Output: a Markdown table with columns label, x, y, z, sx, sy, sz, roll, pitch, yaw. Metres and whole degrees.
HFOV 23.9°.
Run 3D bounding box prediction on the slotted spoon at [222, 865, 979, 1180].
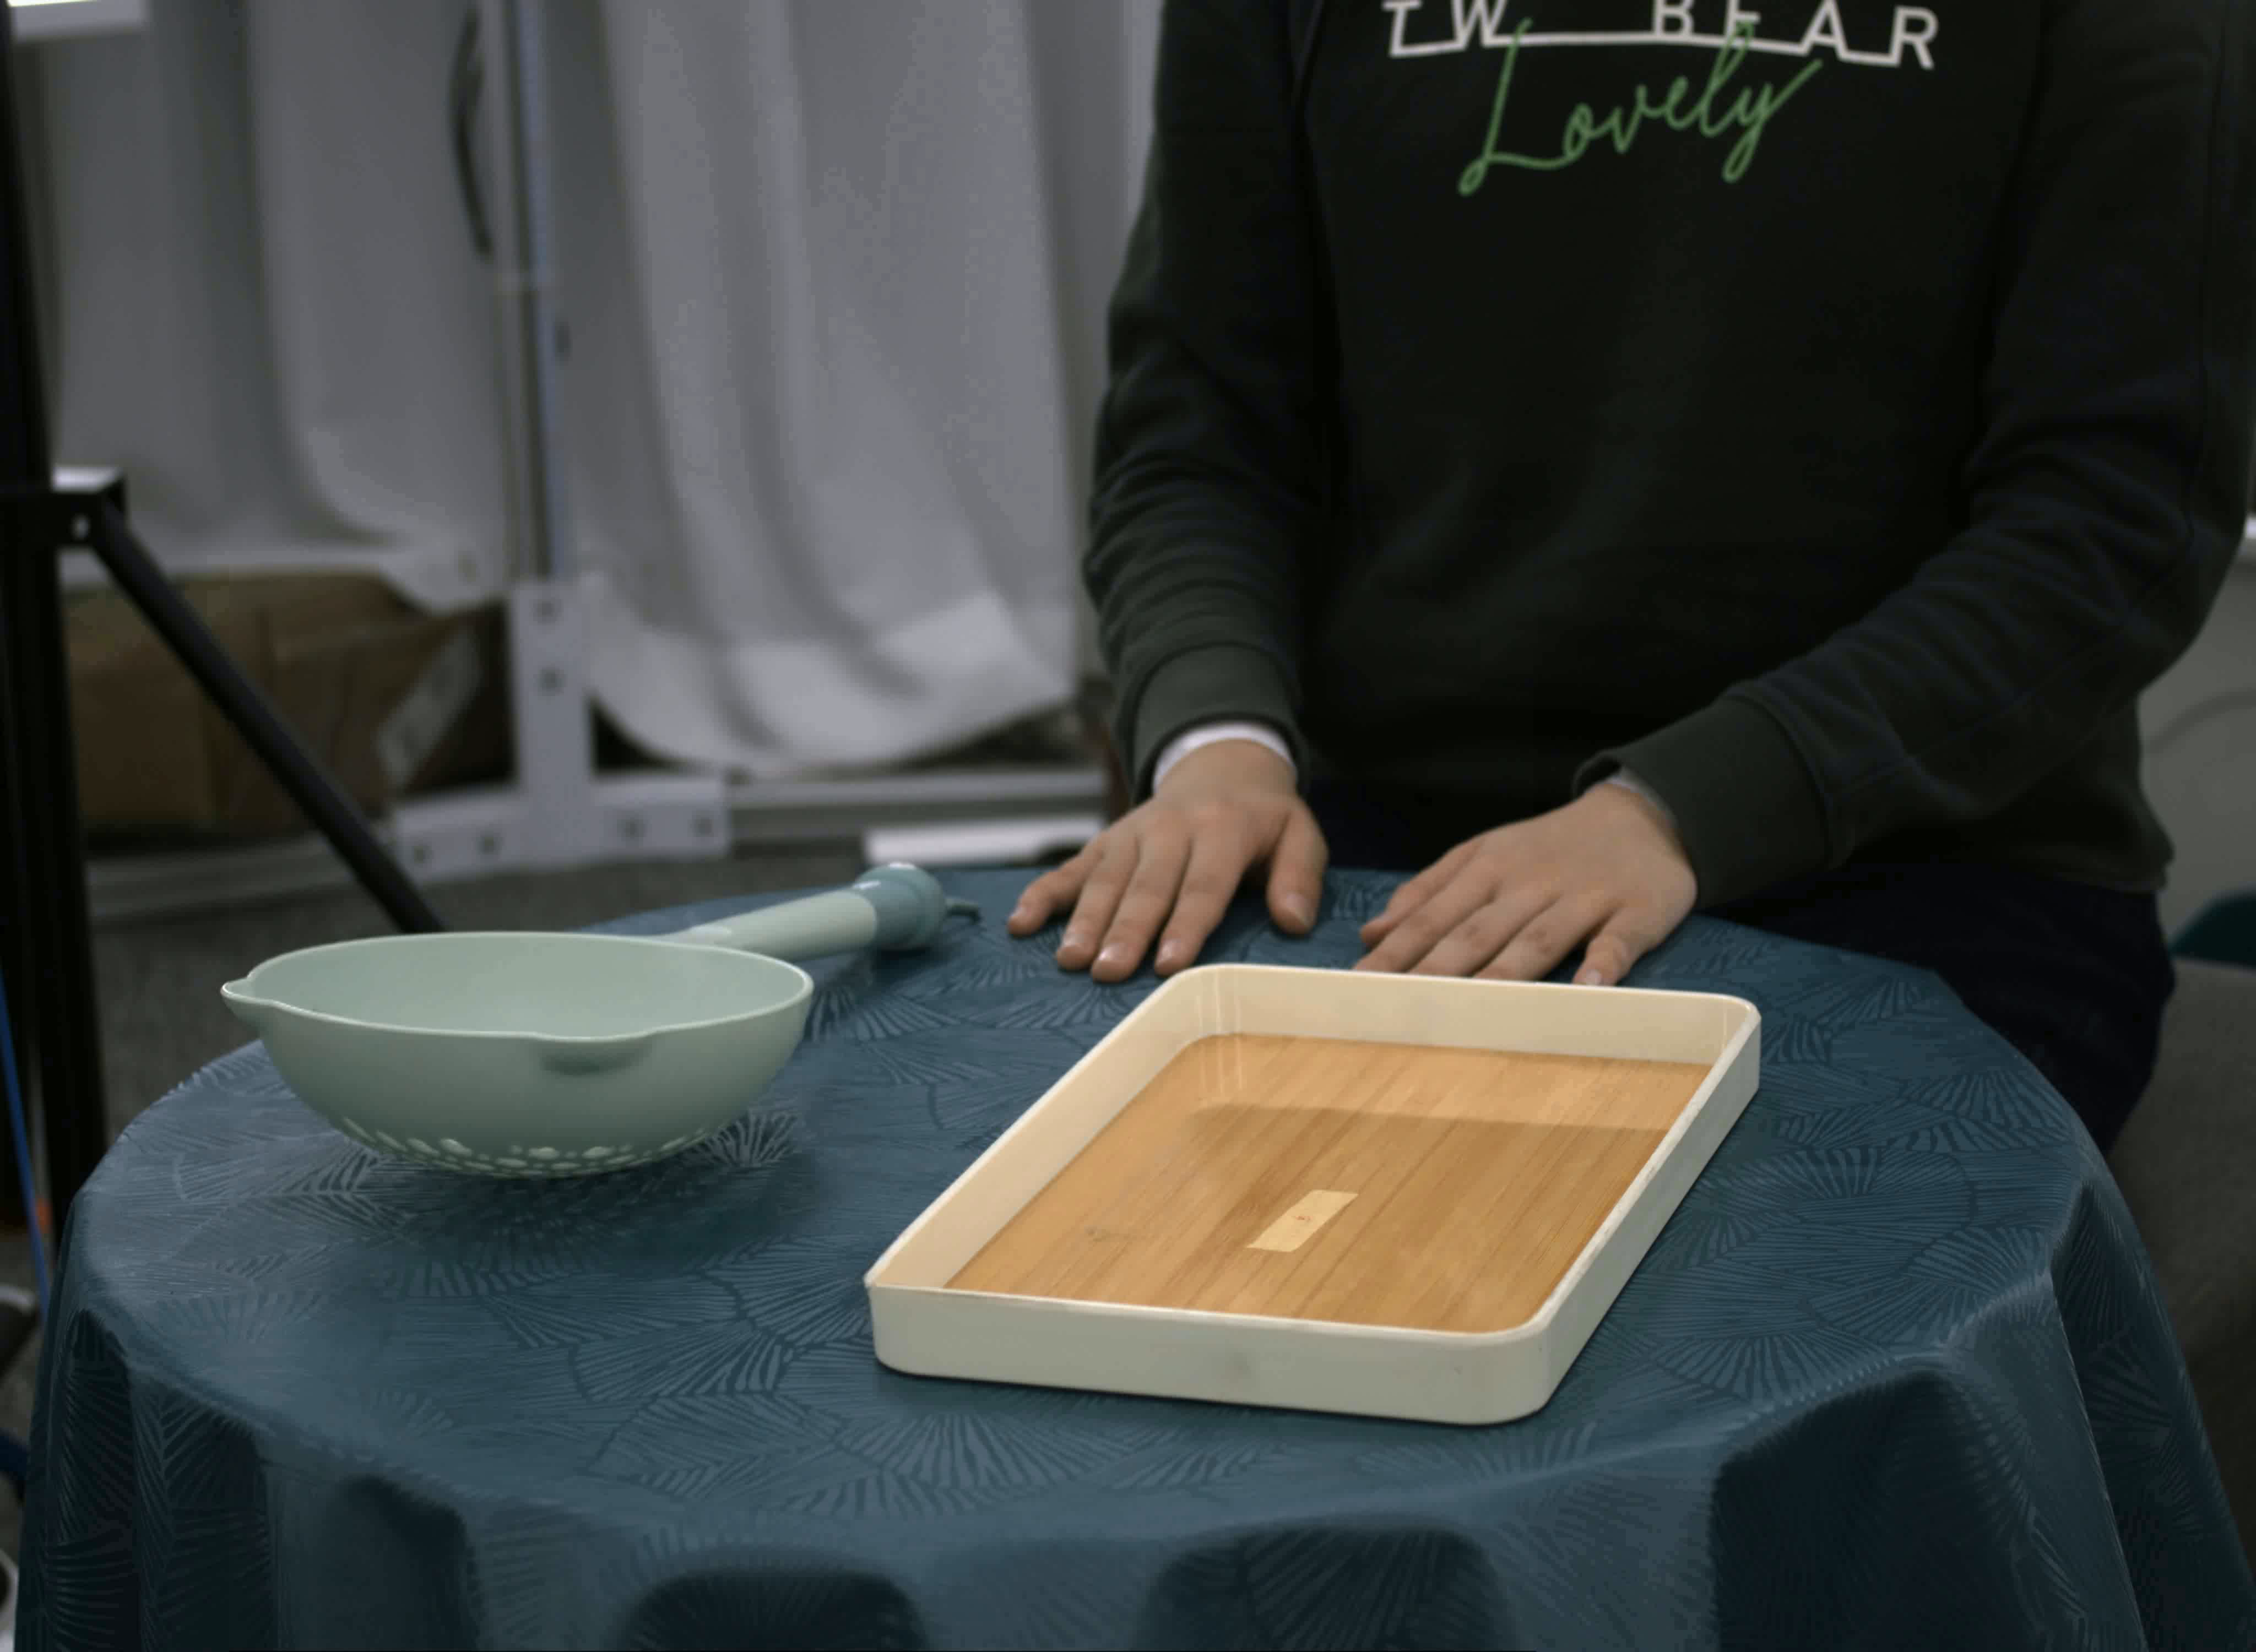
| label | x | y | z | sx | sy | sz | roll | pitch | yaw |
| --- | --- | --- | --- | --- | --- | --- | --- | --- | --- |
| slotted spoon | -0.136 | 0.046 | 1.681 | 0.172 | 0.075 | 0.353 | 6 | 18 | 26 |

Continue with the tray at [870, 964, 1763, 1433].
| label | x | y | z | sx | sy | sz | roll | pitch | yaw |
| --- | --- | --- | --- | --- | --- | --- | --- | --- | --- |
| tray | 0.063 | 0.101 | 1.524 | 0.194 | 0.027 | 0.297 | 3 | 17 | 19 |
